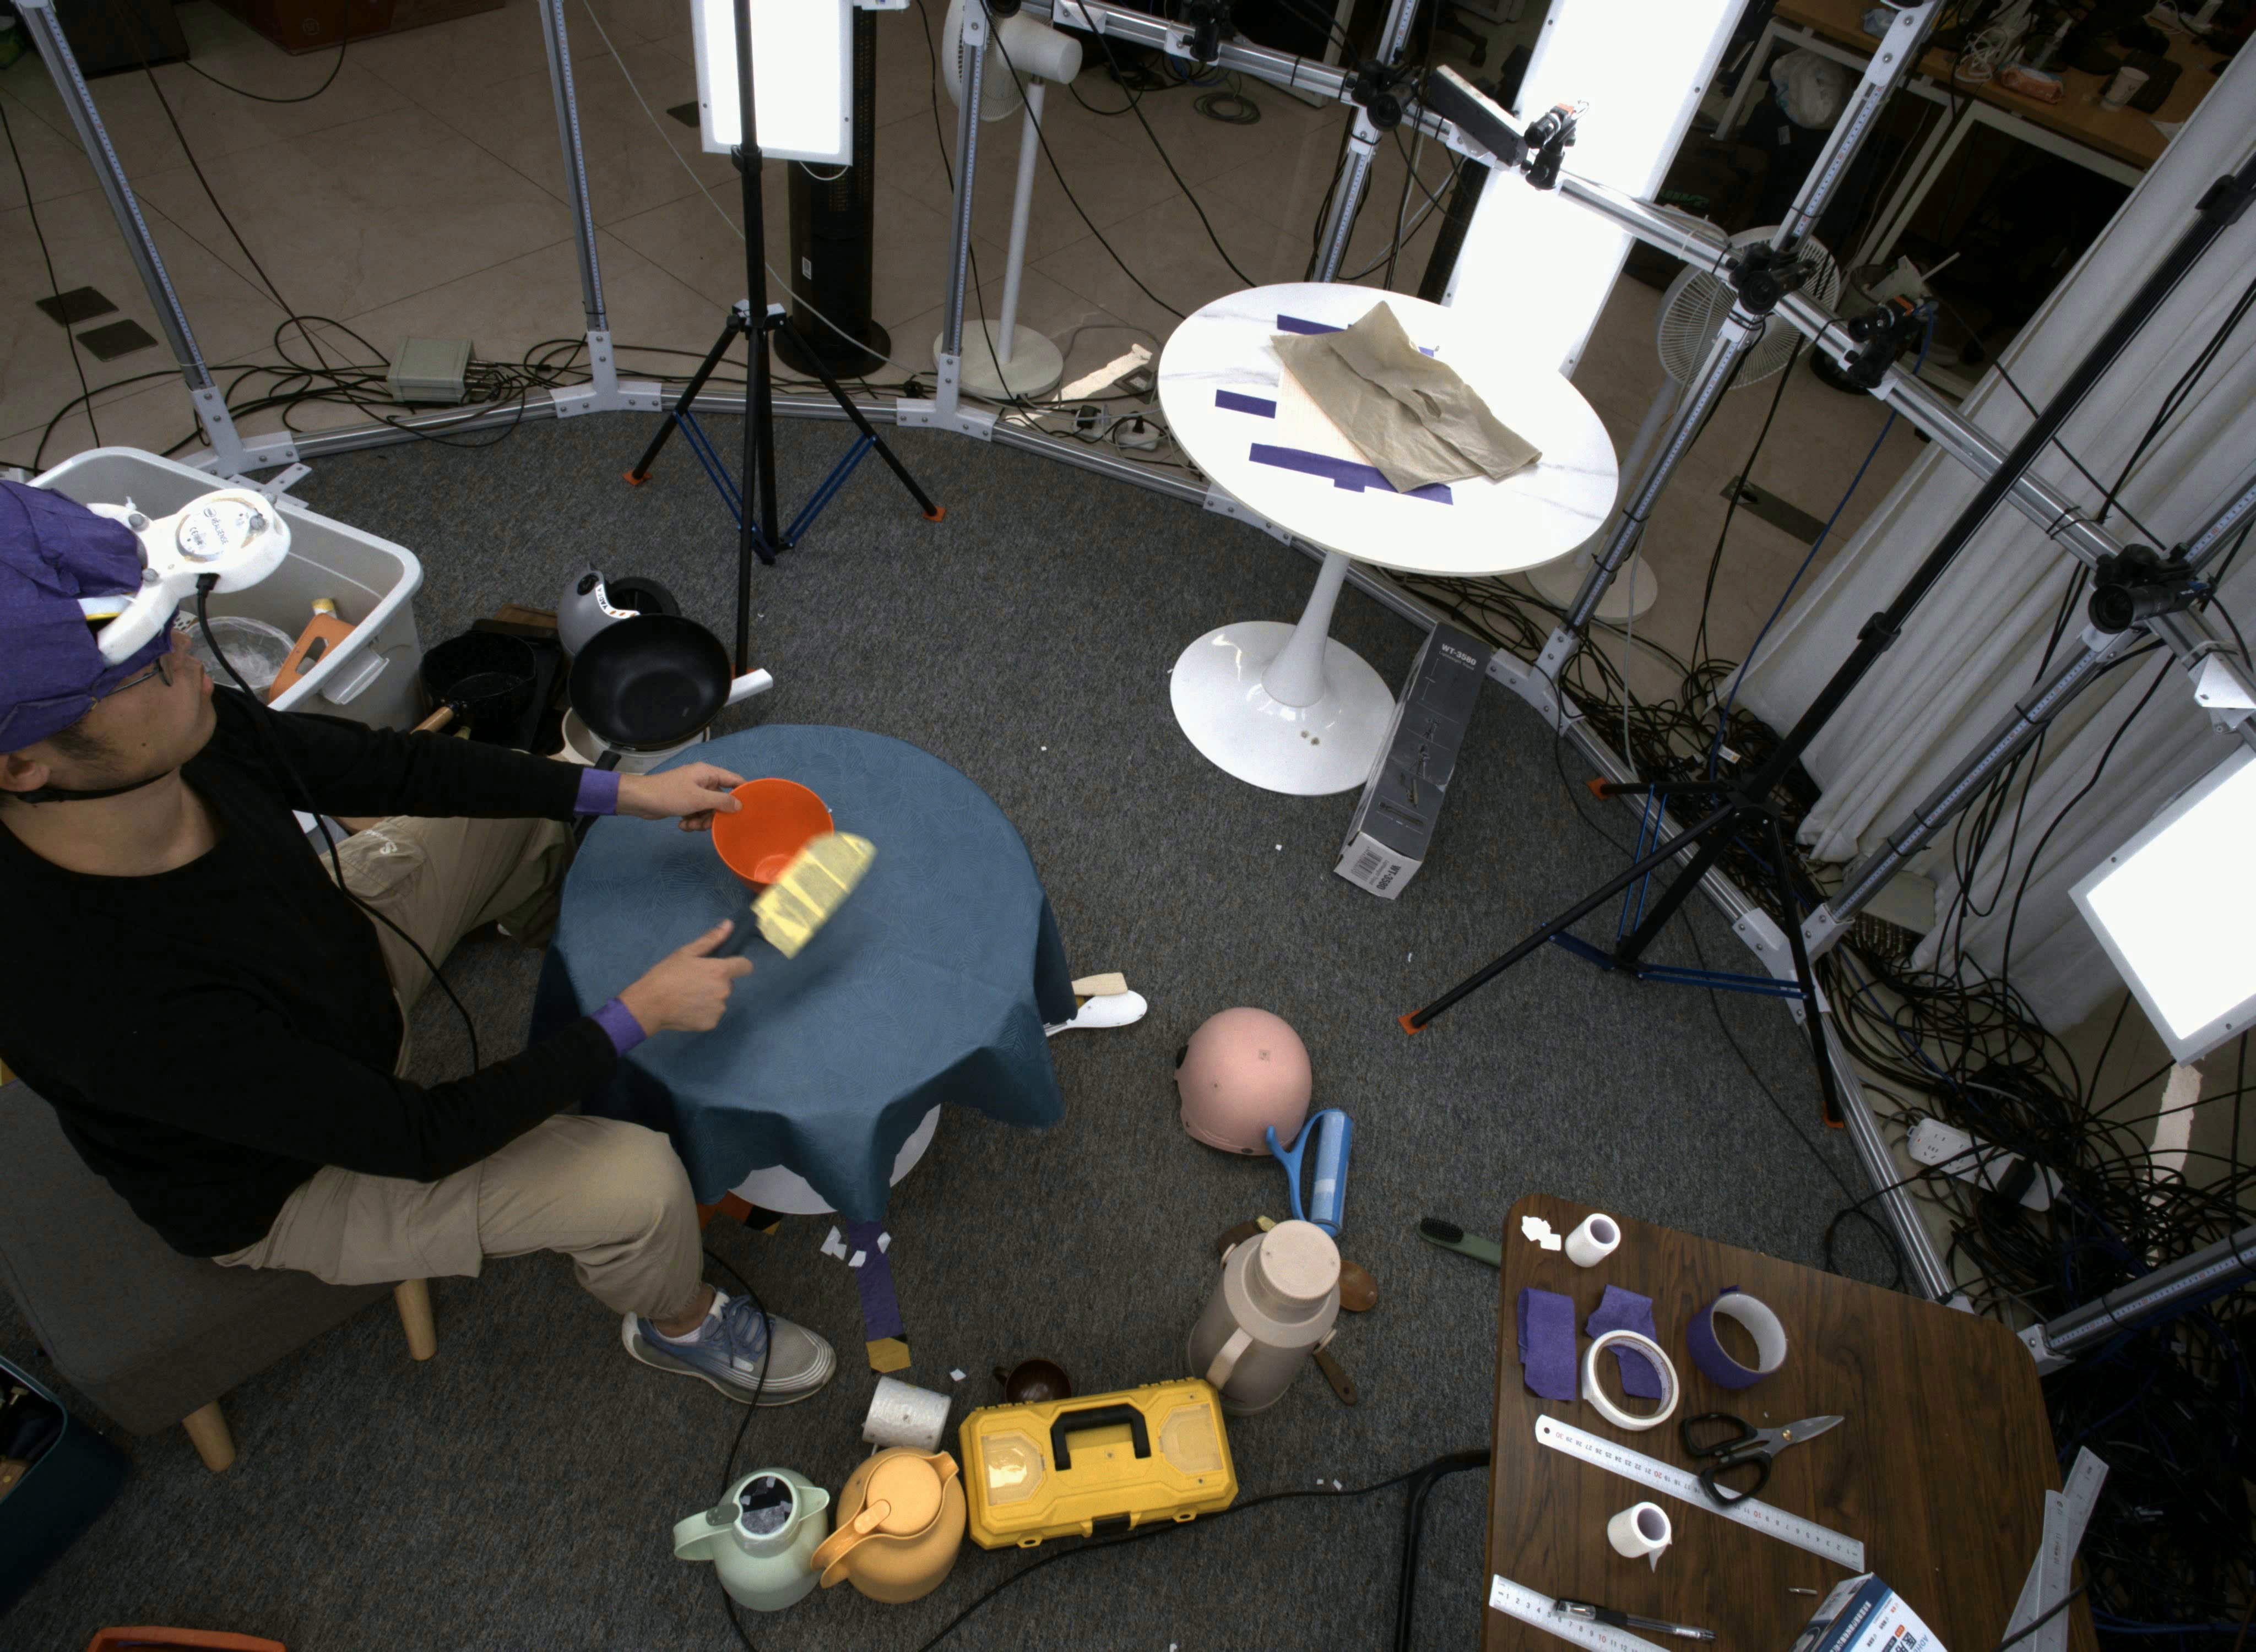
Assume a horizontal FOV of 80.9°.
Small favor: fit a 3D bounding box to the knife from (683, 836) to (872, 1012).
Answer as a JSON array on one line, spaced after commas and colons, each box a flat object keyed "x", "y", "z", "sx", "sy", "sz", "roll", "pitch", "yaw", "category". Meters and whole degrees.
[{"x": -0.408, "y": 0.116, "z": 1.529, "sx": 0.082, "sy": 0.027, "sz": 0.289, "roll": 49, "pitch": 66, "yaw": -14, "category": "knife"}]

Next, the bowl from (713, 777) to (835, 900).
[{"x": -0.444, "y": 0.027, "z": 1.630, "sx": 0.148, "sy": 0.106, "sz": 0.145, "roll": 8, "pitch": 51, "yaw": -9, "category": "bowl"}]
